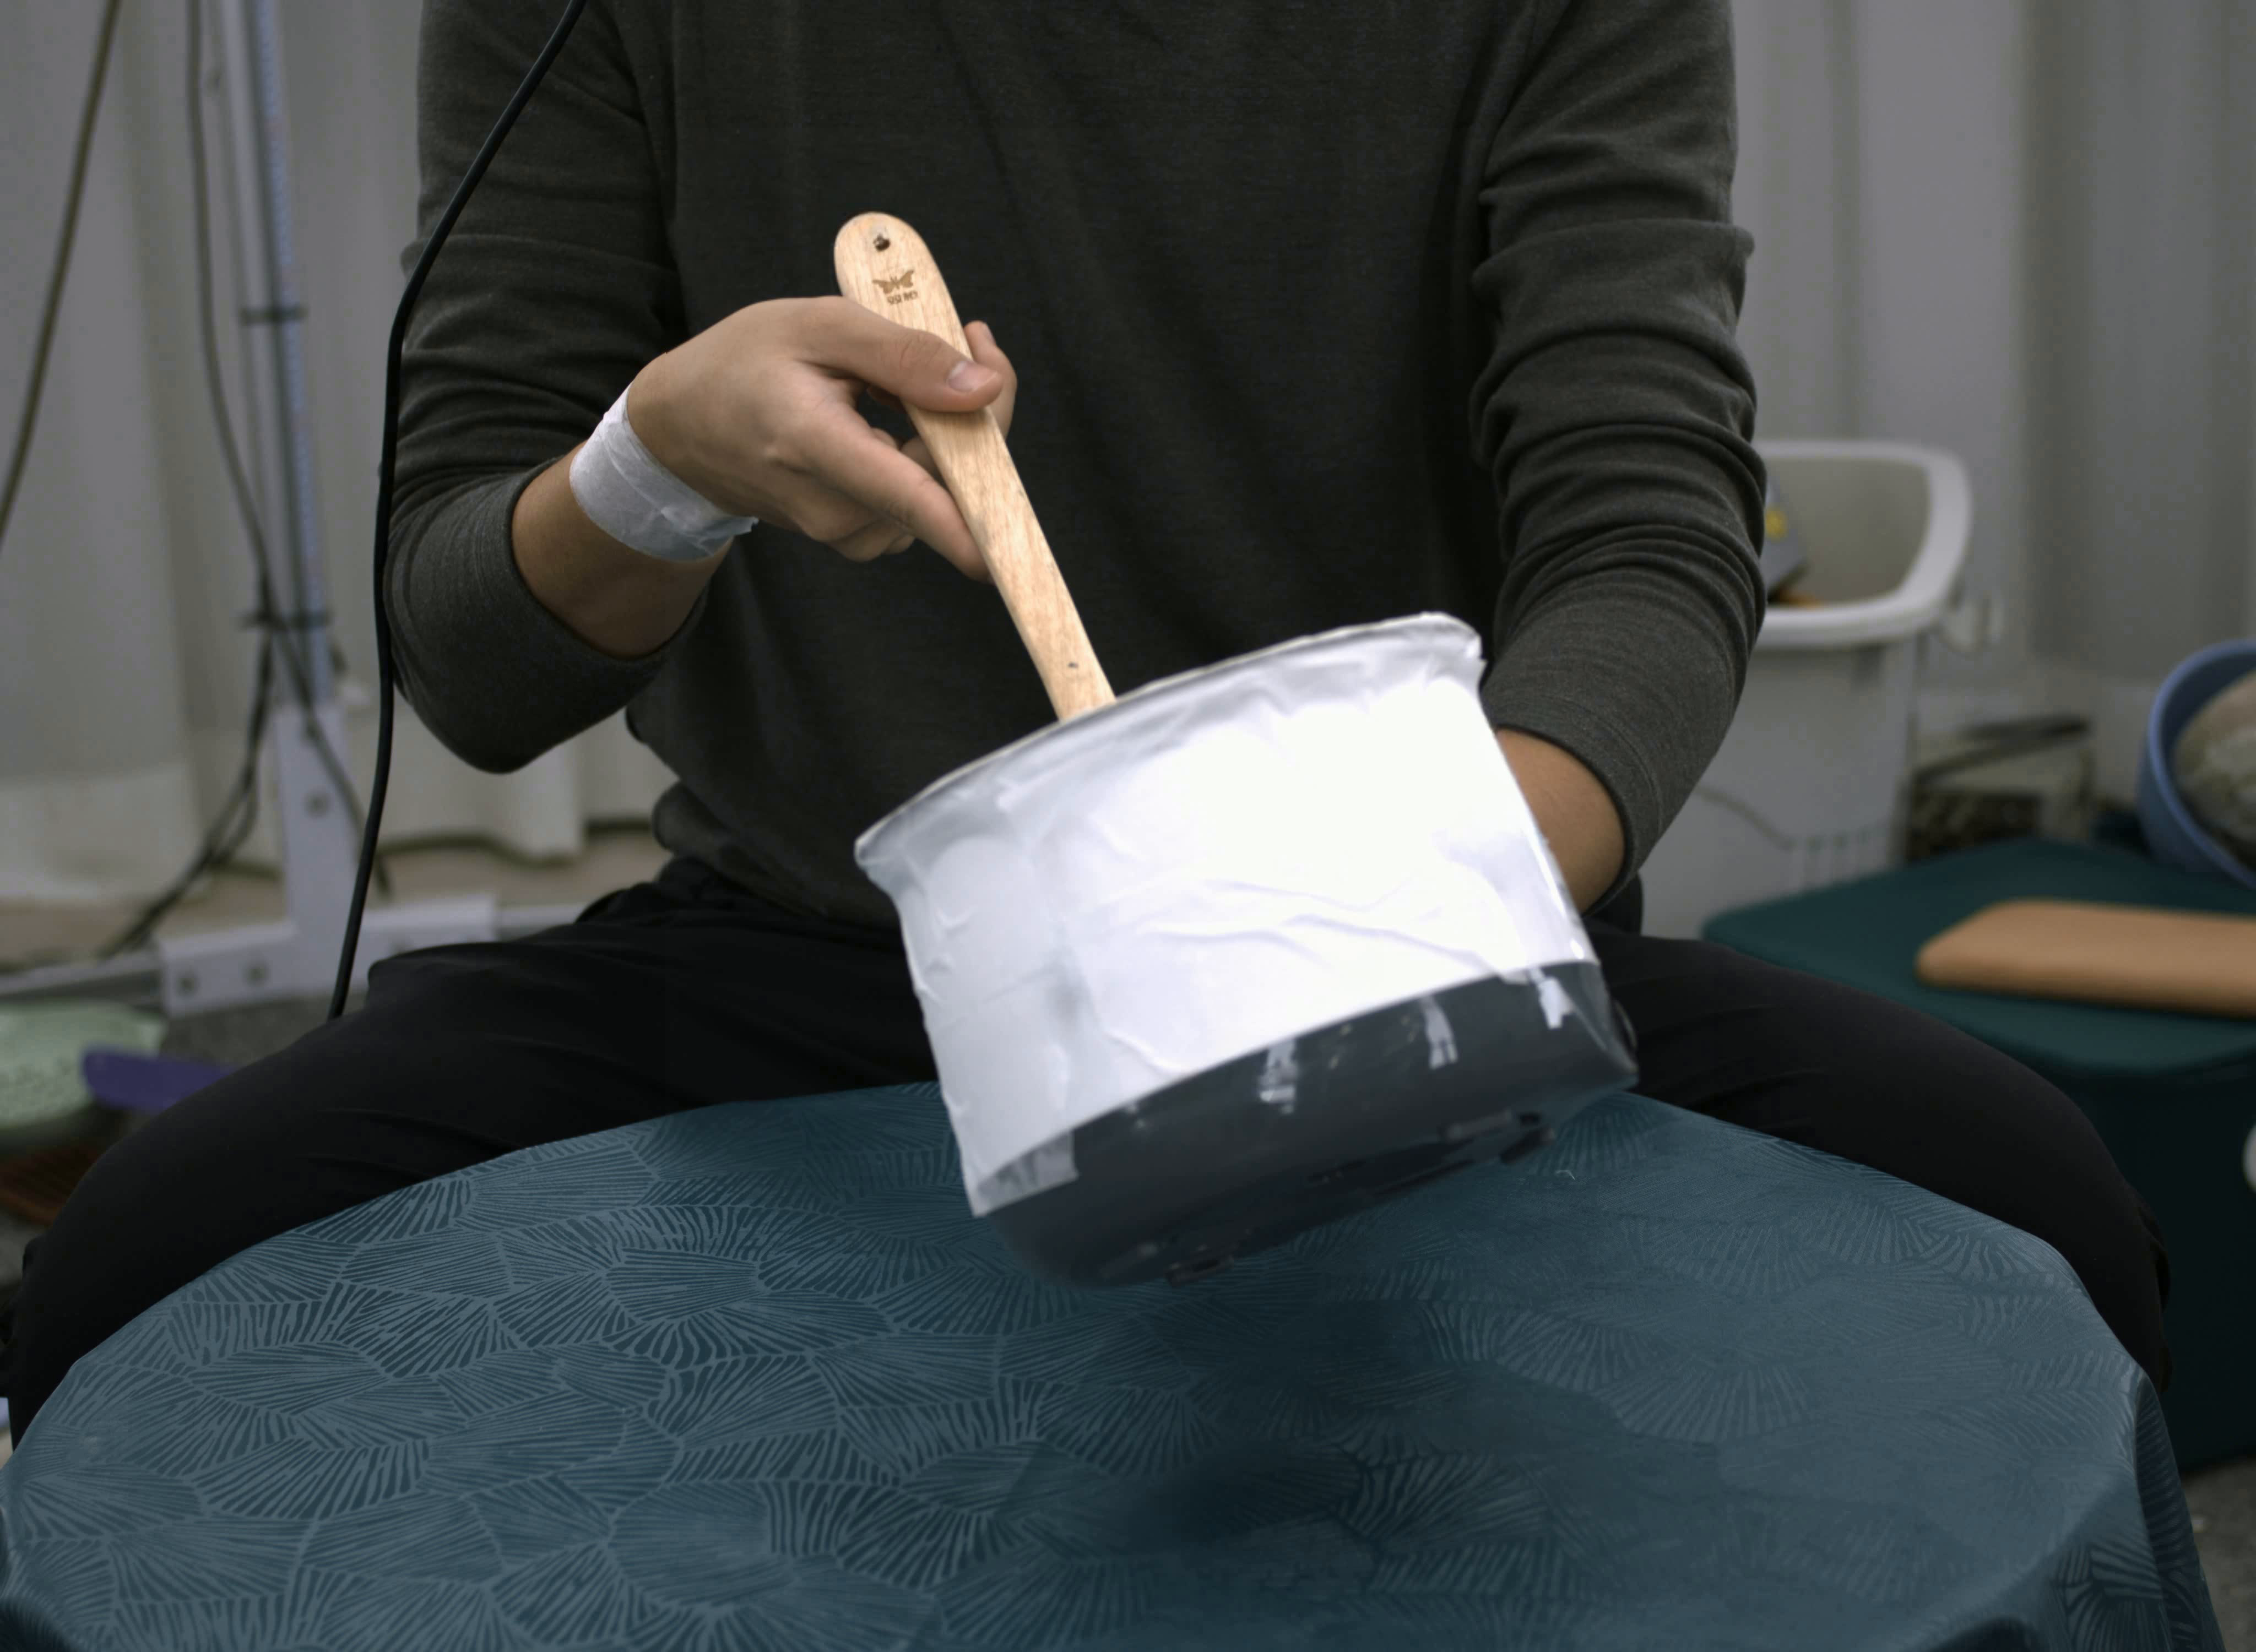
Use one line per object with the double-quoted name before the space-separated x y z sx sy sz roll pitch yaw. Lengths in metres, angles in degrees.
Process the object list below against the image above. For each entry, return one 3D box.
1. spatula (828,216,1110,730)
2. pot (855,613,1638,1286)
"spatula" -0.031 -0.065 1.596 0.095 0.018 0.397 -13 44 -12
"pot" 0.036 0.040 1.475 0.178 0.137 0.232 -21 -10 7
